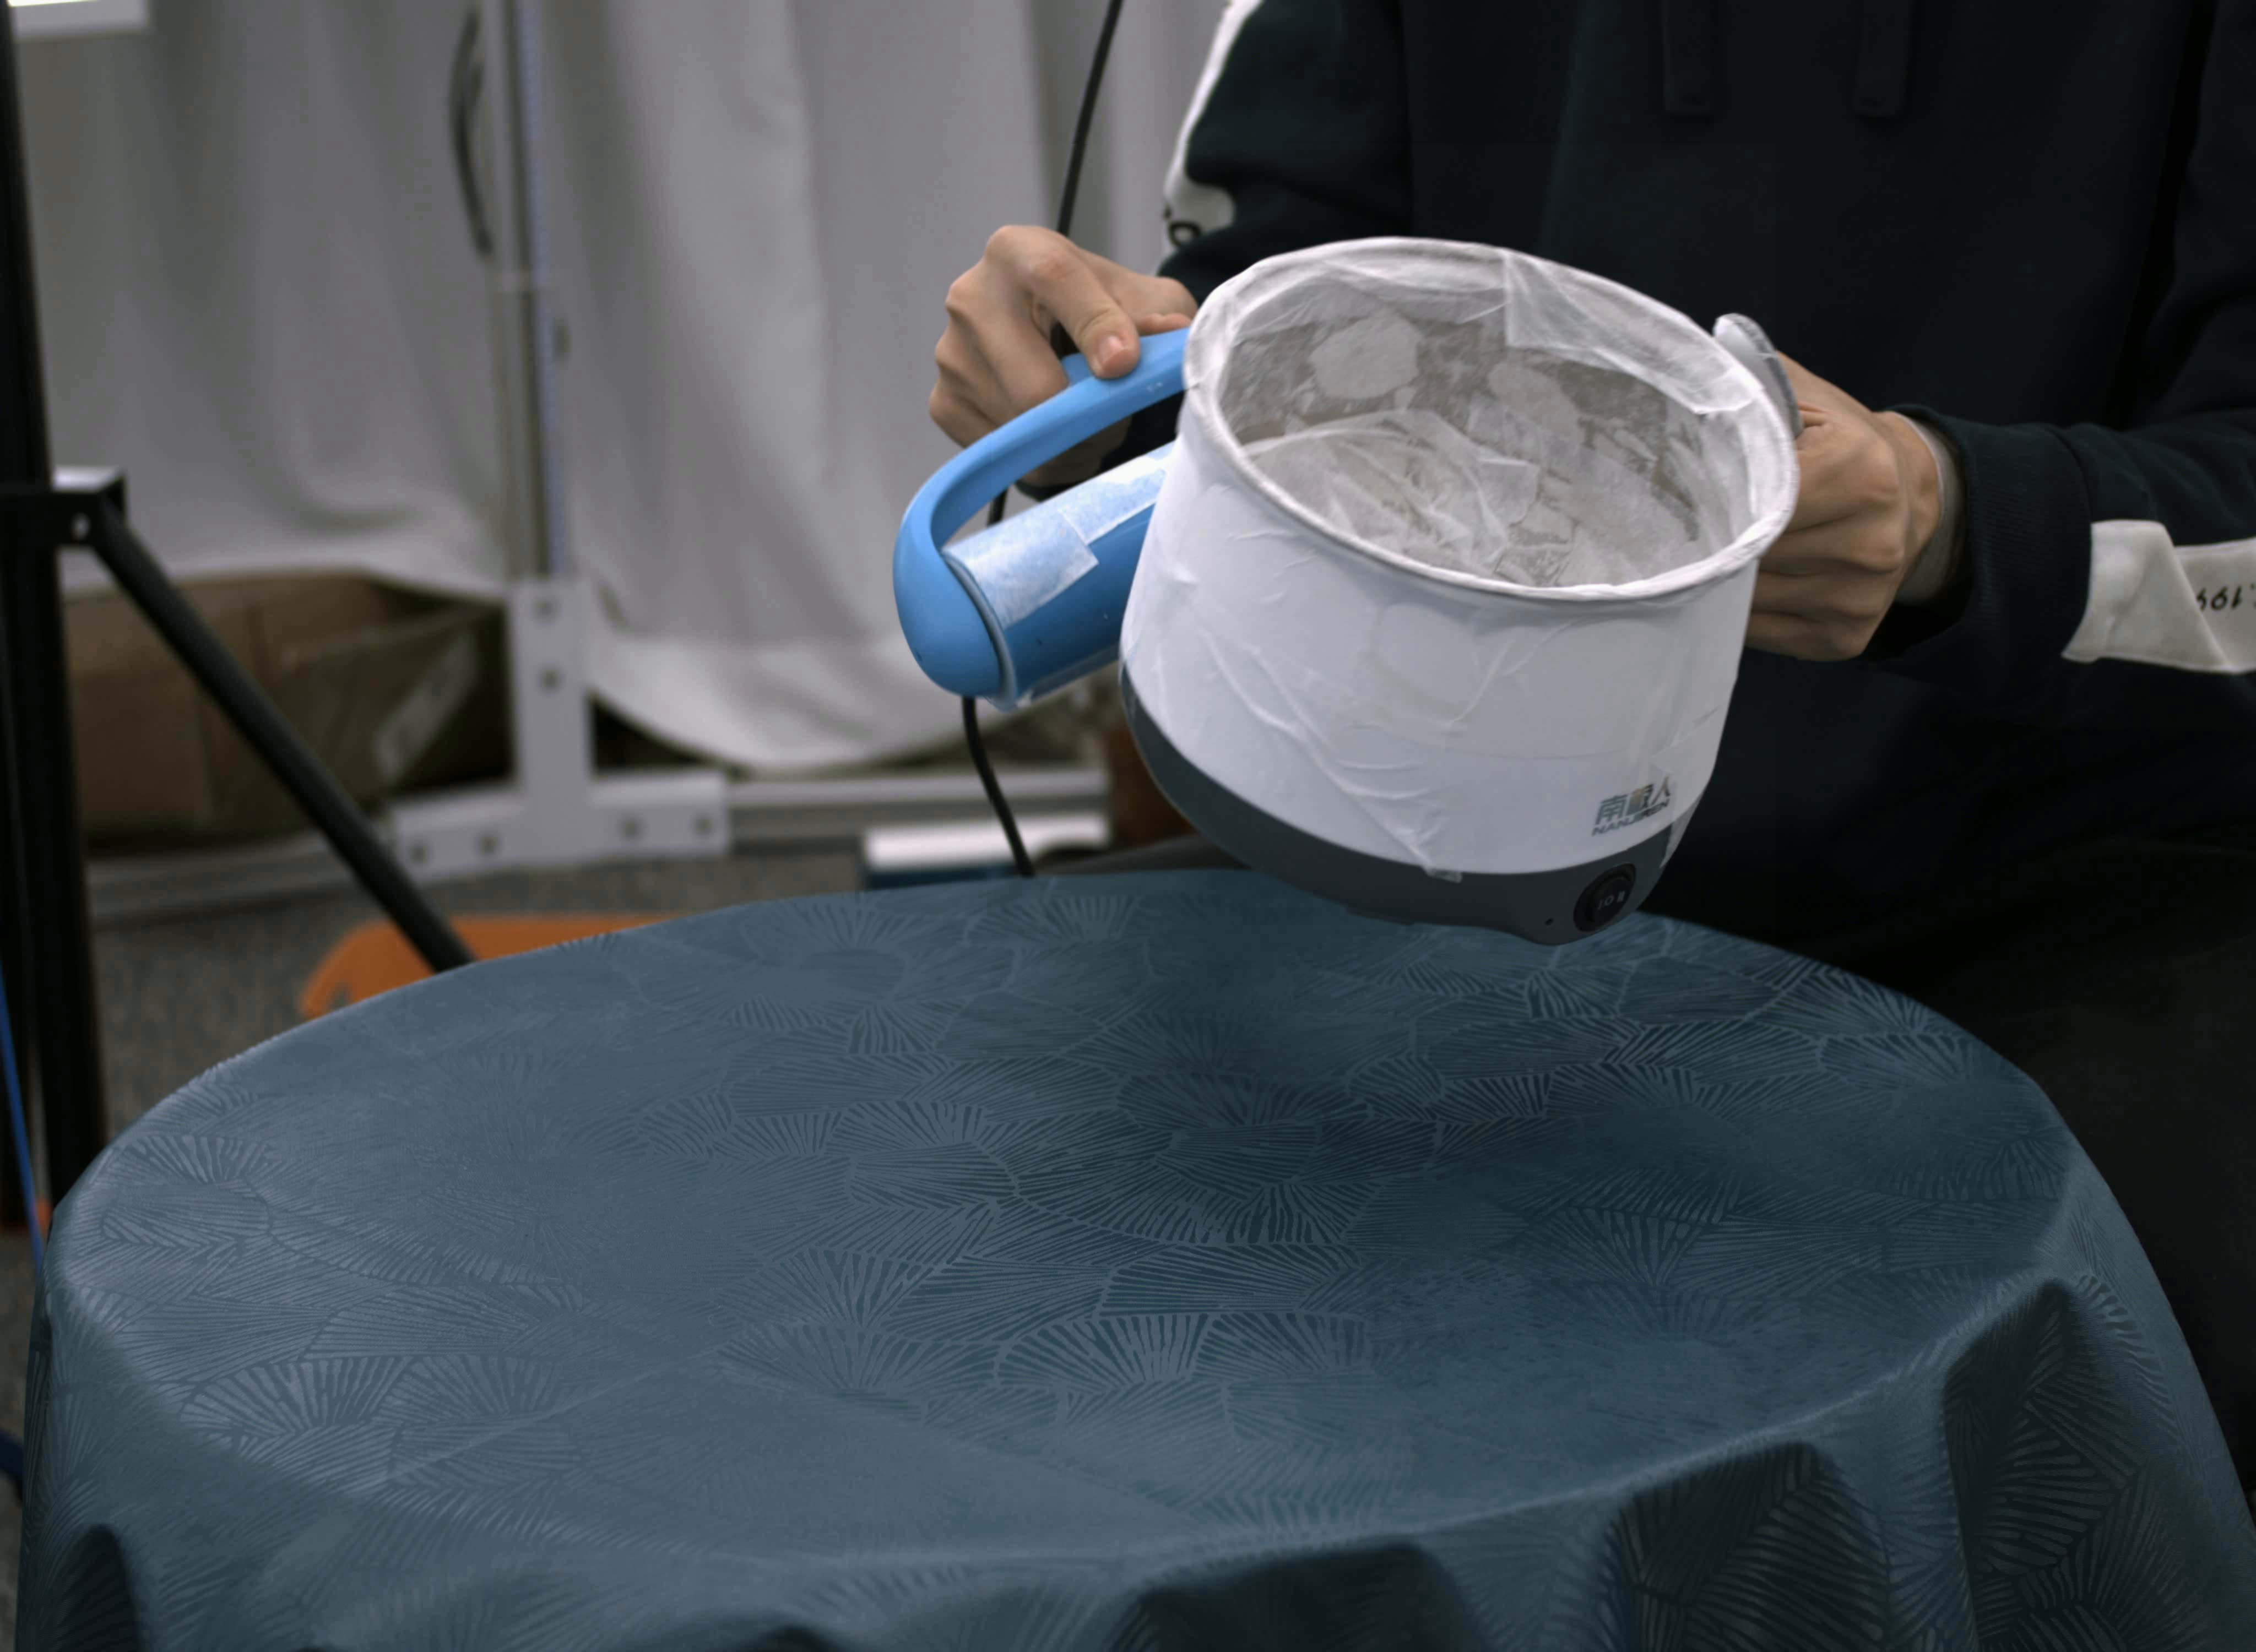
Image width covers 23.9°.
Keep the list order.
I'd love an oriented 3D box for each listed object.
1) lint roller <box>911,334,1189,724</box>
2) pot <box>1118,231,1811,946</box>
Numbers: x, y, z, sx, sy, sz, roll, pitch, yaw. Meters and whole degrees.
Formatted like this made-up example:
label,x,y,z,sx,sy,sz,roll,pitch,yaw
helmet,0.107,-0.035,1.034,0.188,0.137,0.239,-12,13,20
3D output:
label,x,y,z,sx,sy,sz,roll,pitch,yaw
lint roller,0.007,-0.119,1.681,0.226,0.067,0.184,-31,33,-18
pot,0.110,-0.075,1.535,0.229,0.136,0.182,-21,48,-34
